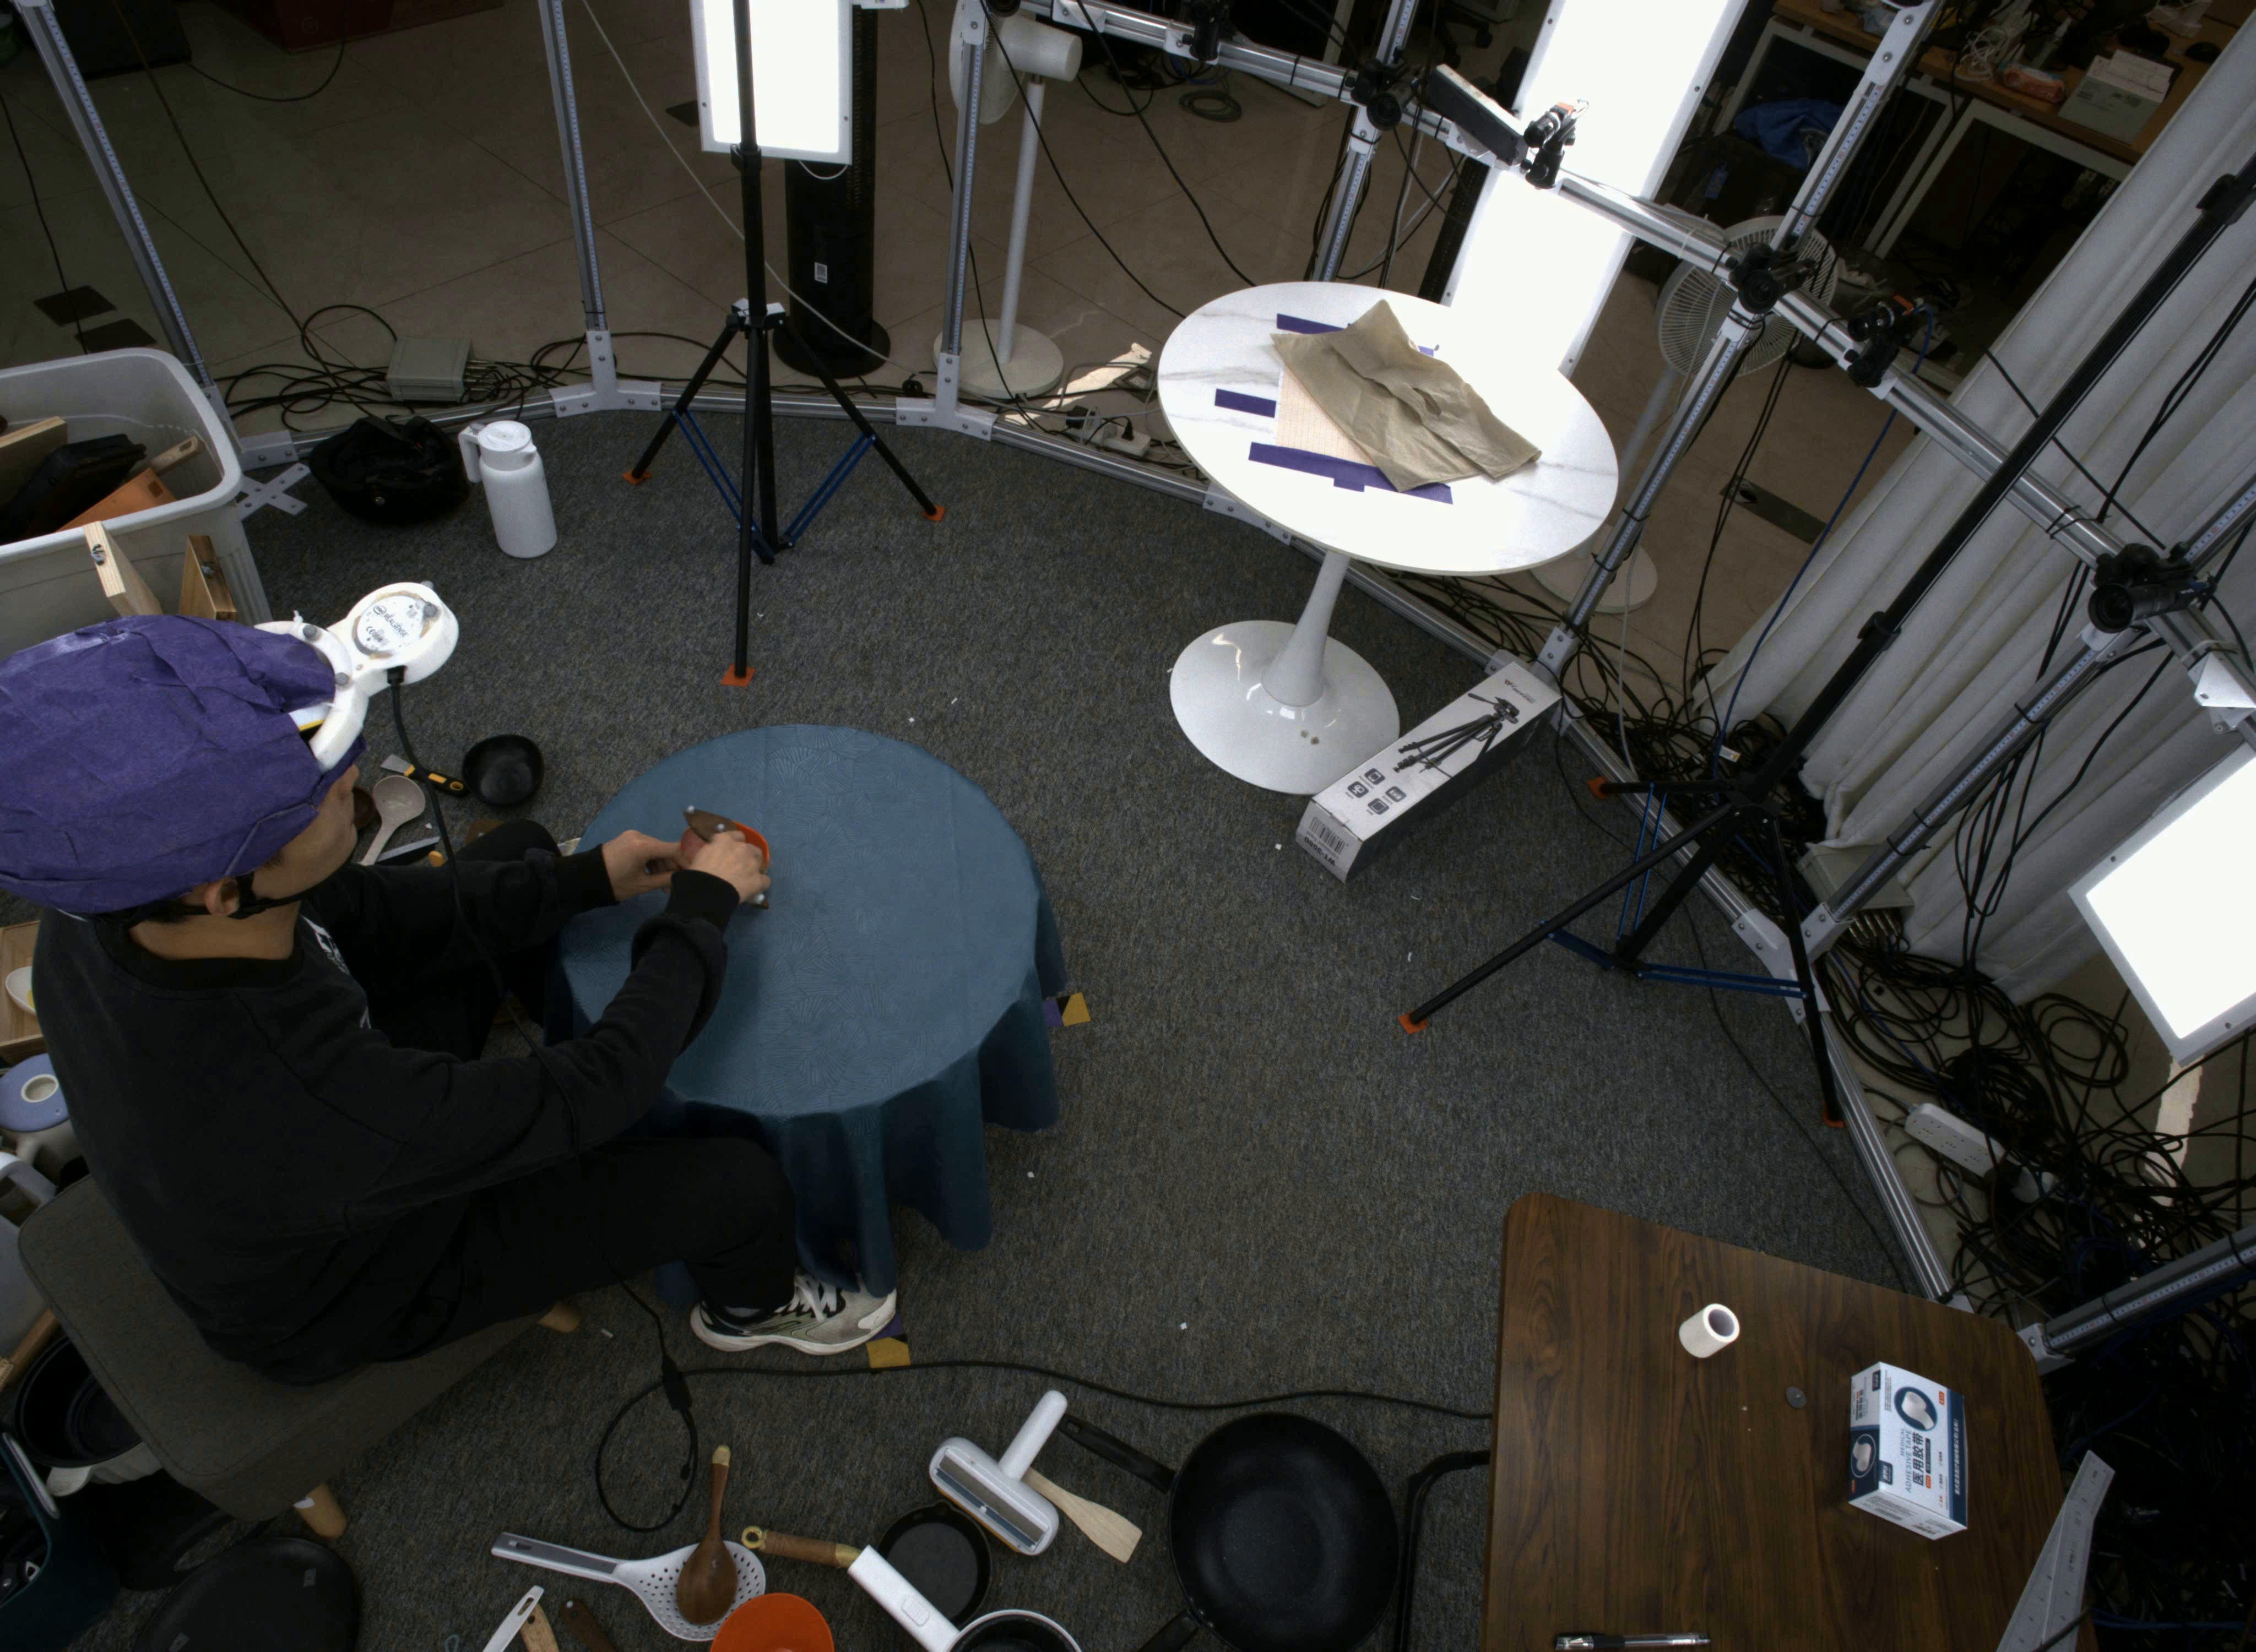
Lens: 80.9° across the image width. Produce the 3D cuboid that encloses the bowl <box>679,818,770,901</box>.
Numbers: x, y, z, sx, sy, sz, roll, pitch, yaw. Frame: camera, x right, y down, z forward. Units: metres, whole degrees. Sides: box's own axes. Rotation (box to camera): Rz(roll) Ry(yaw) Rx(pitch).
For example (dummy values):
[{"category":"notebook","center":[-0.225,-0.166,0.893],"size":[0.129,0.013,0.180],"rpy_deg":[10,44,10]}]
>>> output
[{"category":"bowl","center":[-0.513,0.049,1.627],"size":[0.120,0.051,0.116],"rpy_deg":[20,45,-19]}]

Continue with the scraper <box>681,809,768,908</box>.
[{"category":"scraper","center":[-0.477,0.038,1.551],"size":[0.078,0.011,0.203],"rpy_deg":[18,19,-45]}]
